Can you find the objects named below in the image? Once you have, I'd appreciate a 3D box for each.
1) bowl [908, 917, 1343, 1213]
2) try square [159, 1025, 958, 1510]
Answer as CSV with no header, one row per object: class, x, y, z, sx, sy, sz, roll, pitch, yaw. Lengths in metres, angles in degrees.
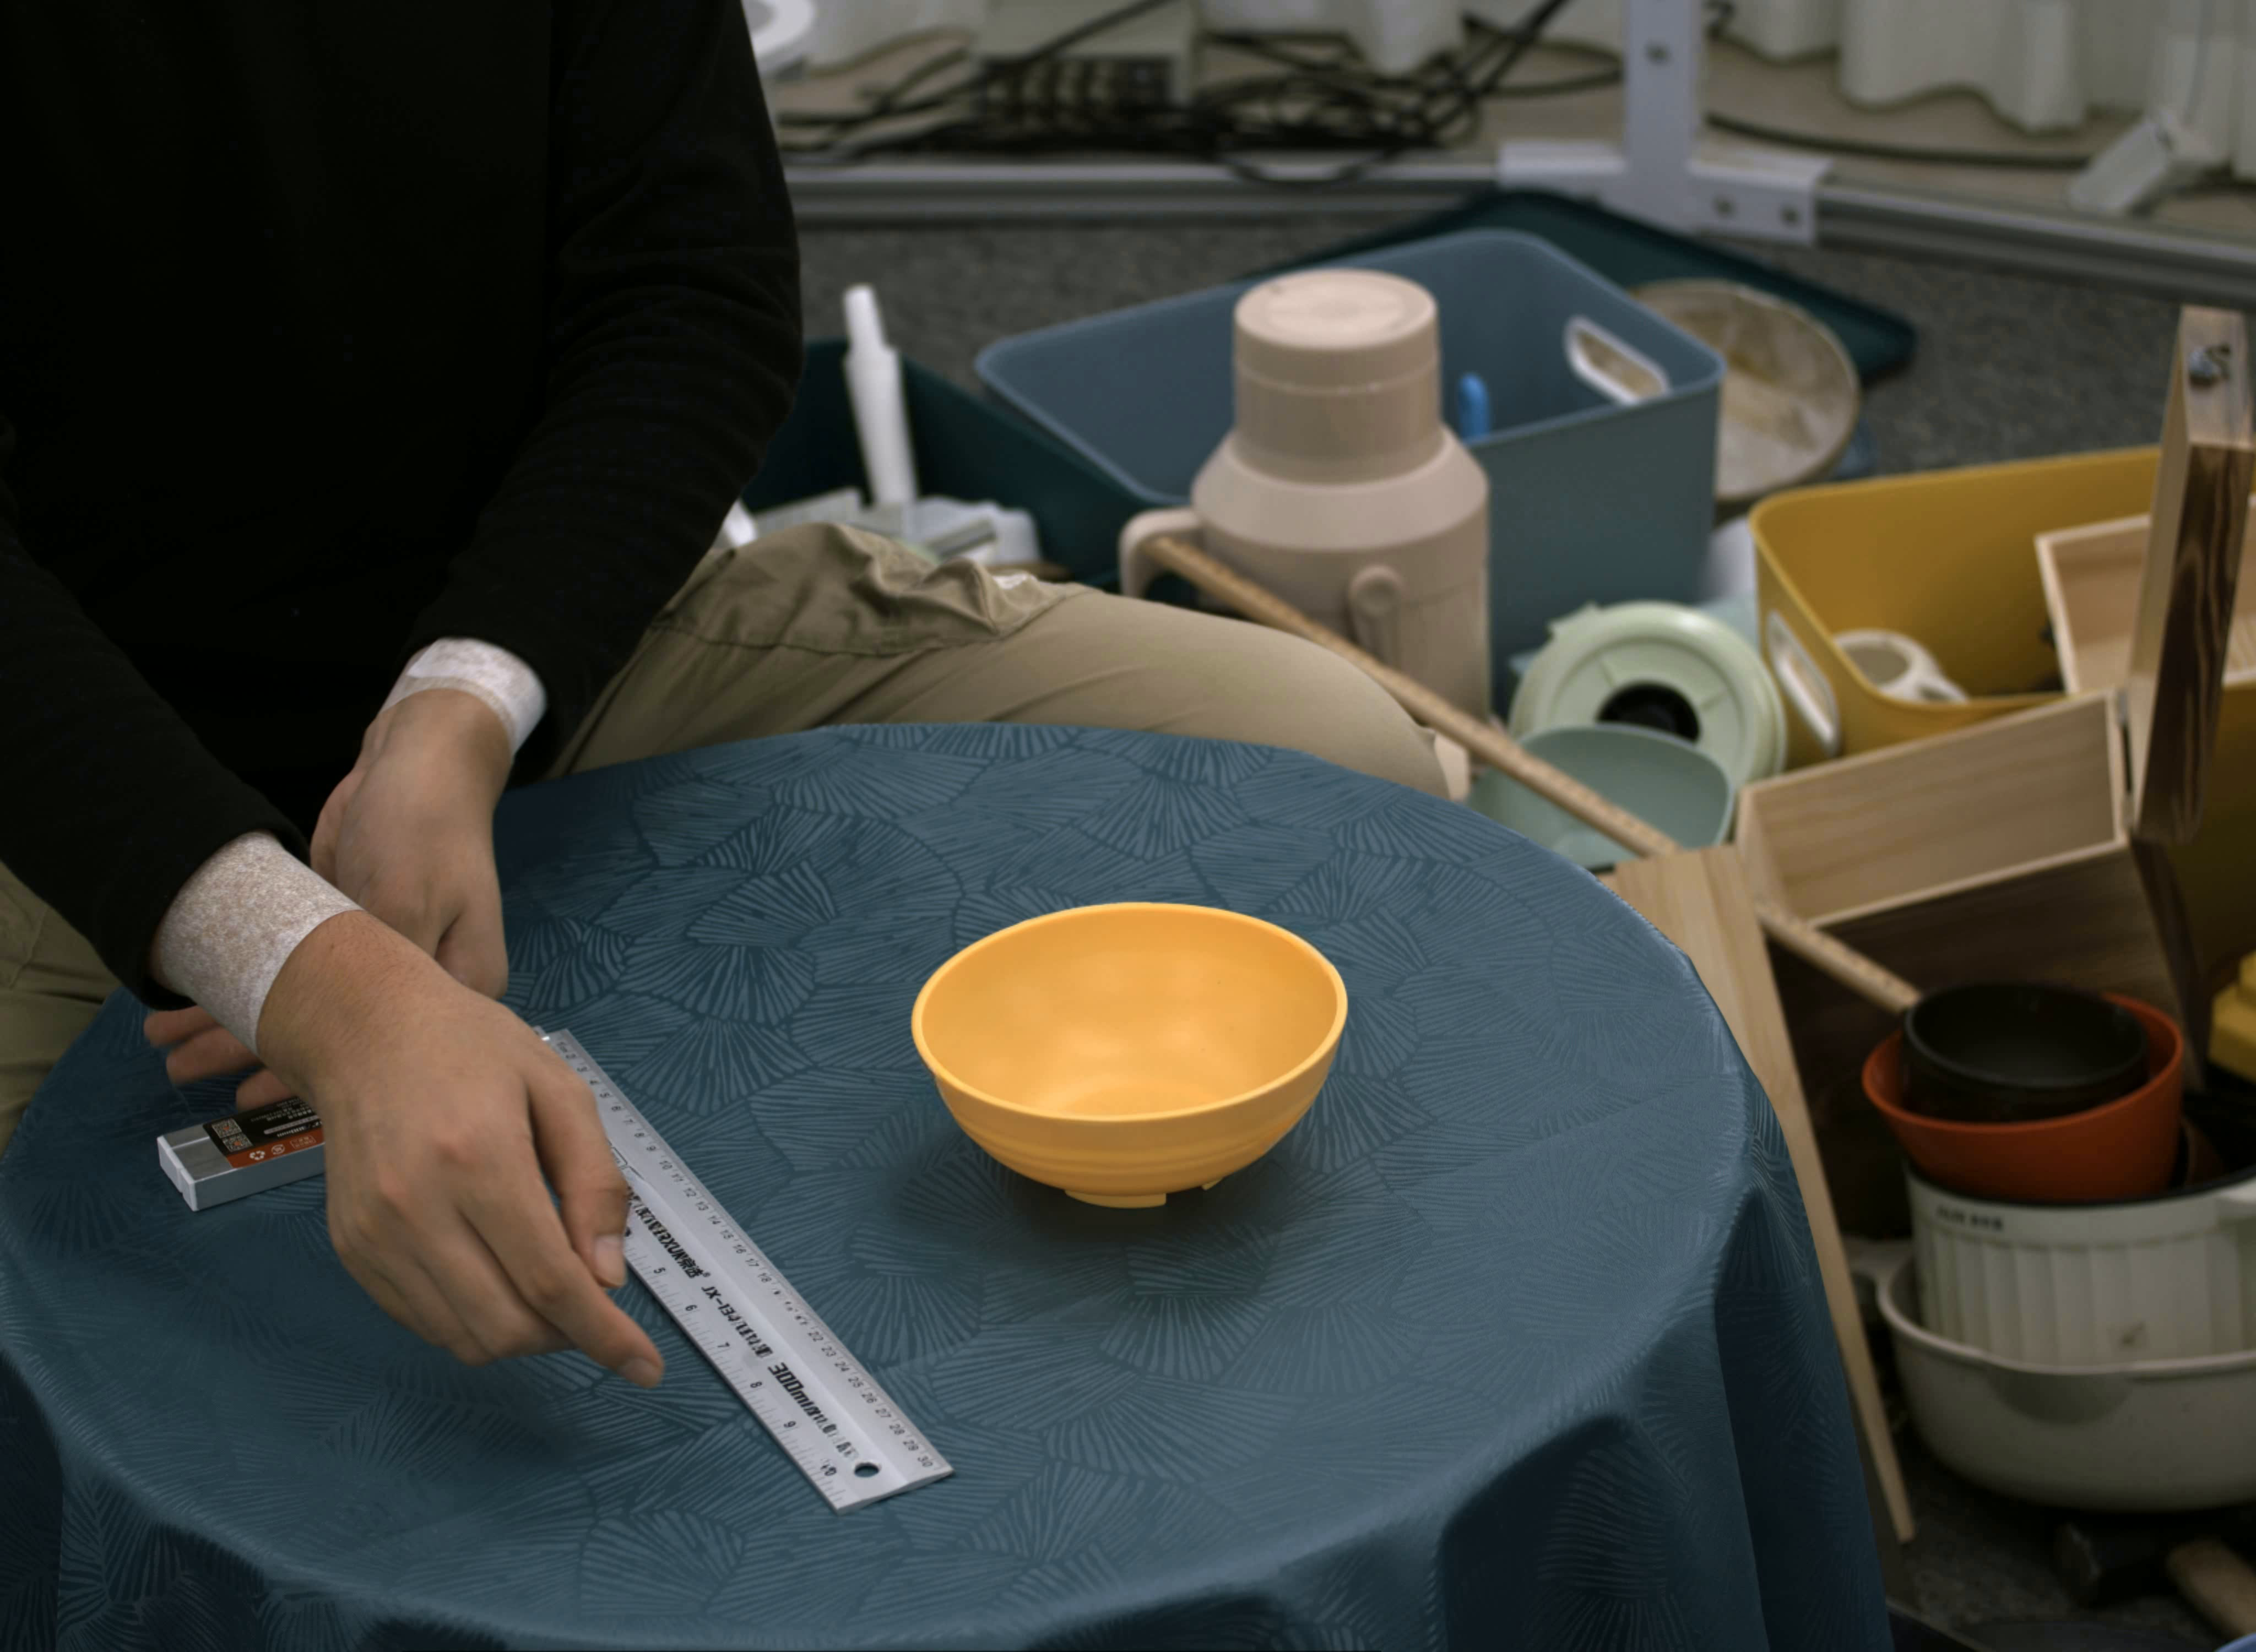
bowl,0.000,0.087,1.868,0.144,0.059,0.147,-2,24,1
try square,-0.190,0.155,1.811,0.153,0.016,0.314,-18,32,-22
